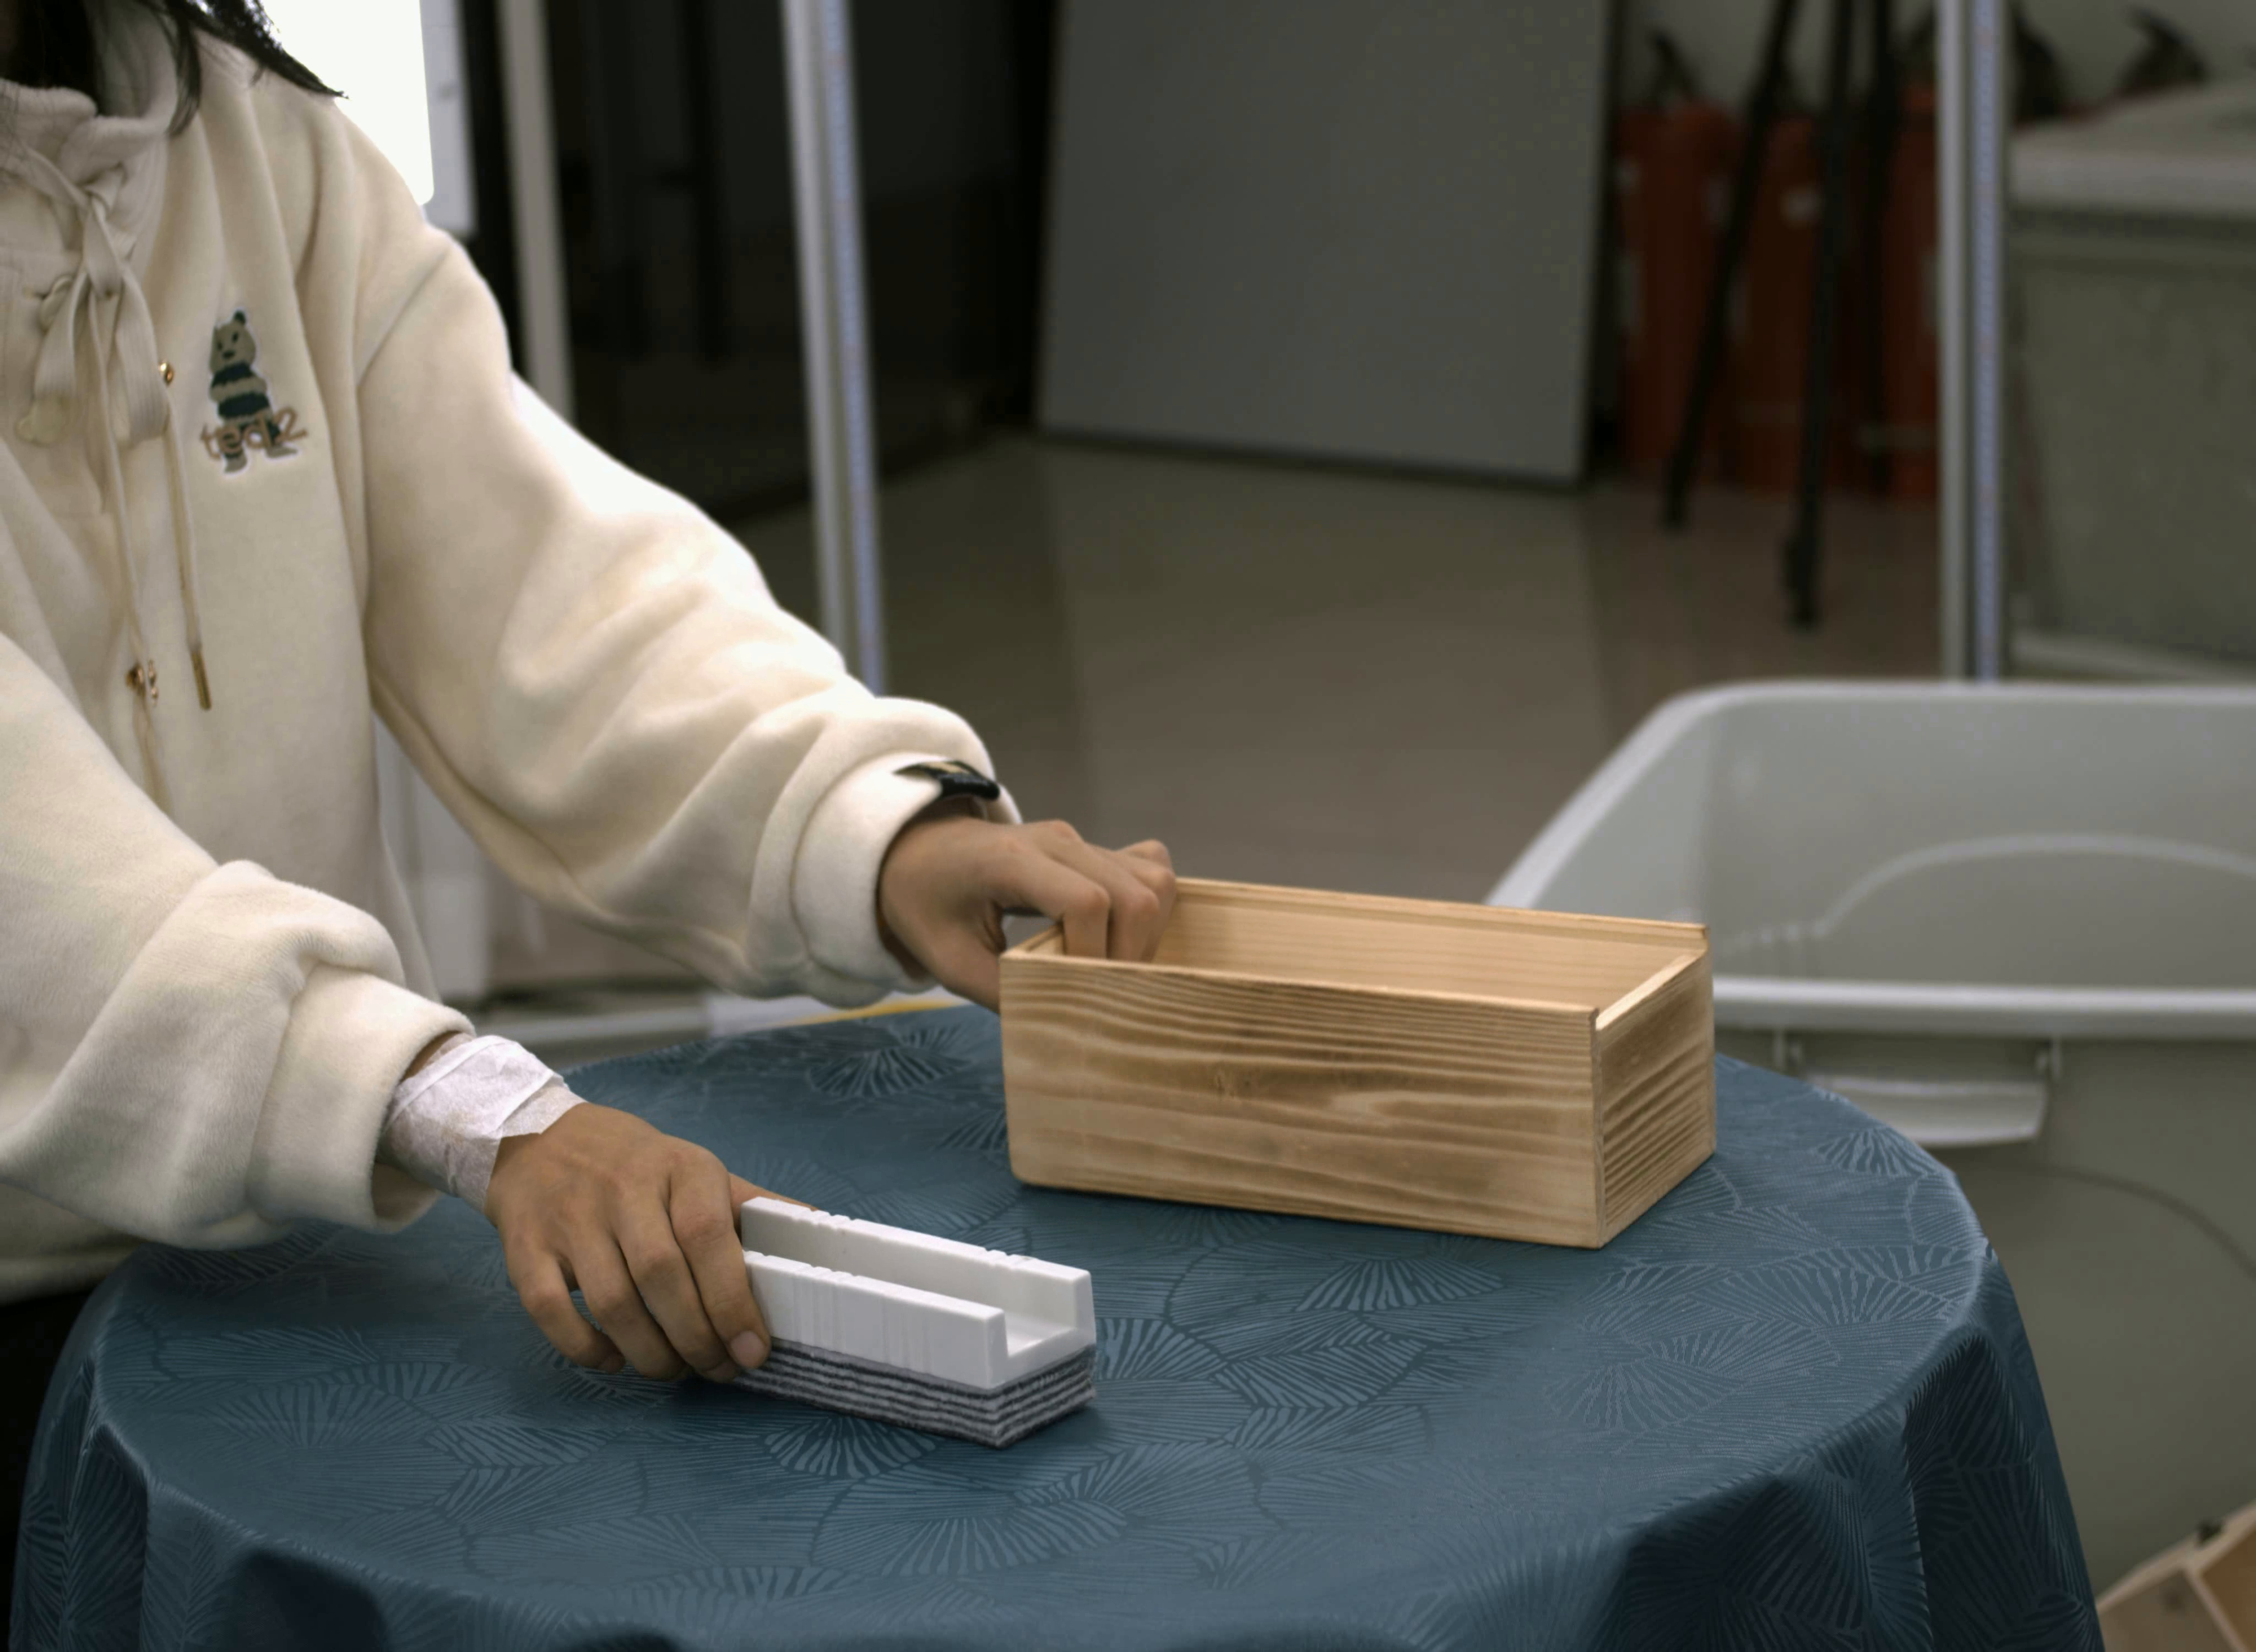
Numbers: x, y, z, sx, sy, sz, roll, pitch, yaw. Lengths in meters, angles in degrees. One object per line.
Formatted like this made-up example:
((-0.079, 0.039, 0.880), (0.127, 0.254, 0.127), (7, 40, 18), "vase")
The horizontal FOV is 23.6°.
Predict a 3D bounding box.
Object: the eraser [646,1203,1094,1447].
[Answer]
((-0.076, 0.146, 1.593), (0.135, 0.047, 0.049), (8, 20, 38), "eraser")

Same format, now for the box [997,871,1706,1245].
((0.074, 0.073, 1.763), (0.212, 0.081, 0.106), (5, 15, 27), "box")
